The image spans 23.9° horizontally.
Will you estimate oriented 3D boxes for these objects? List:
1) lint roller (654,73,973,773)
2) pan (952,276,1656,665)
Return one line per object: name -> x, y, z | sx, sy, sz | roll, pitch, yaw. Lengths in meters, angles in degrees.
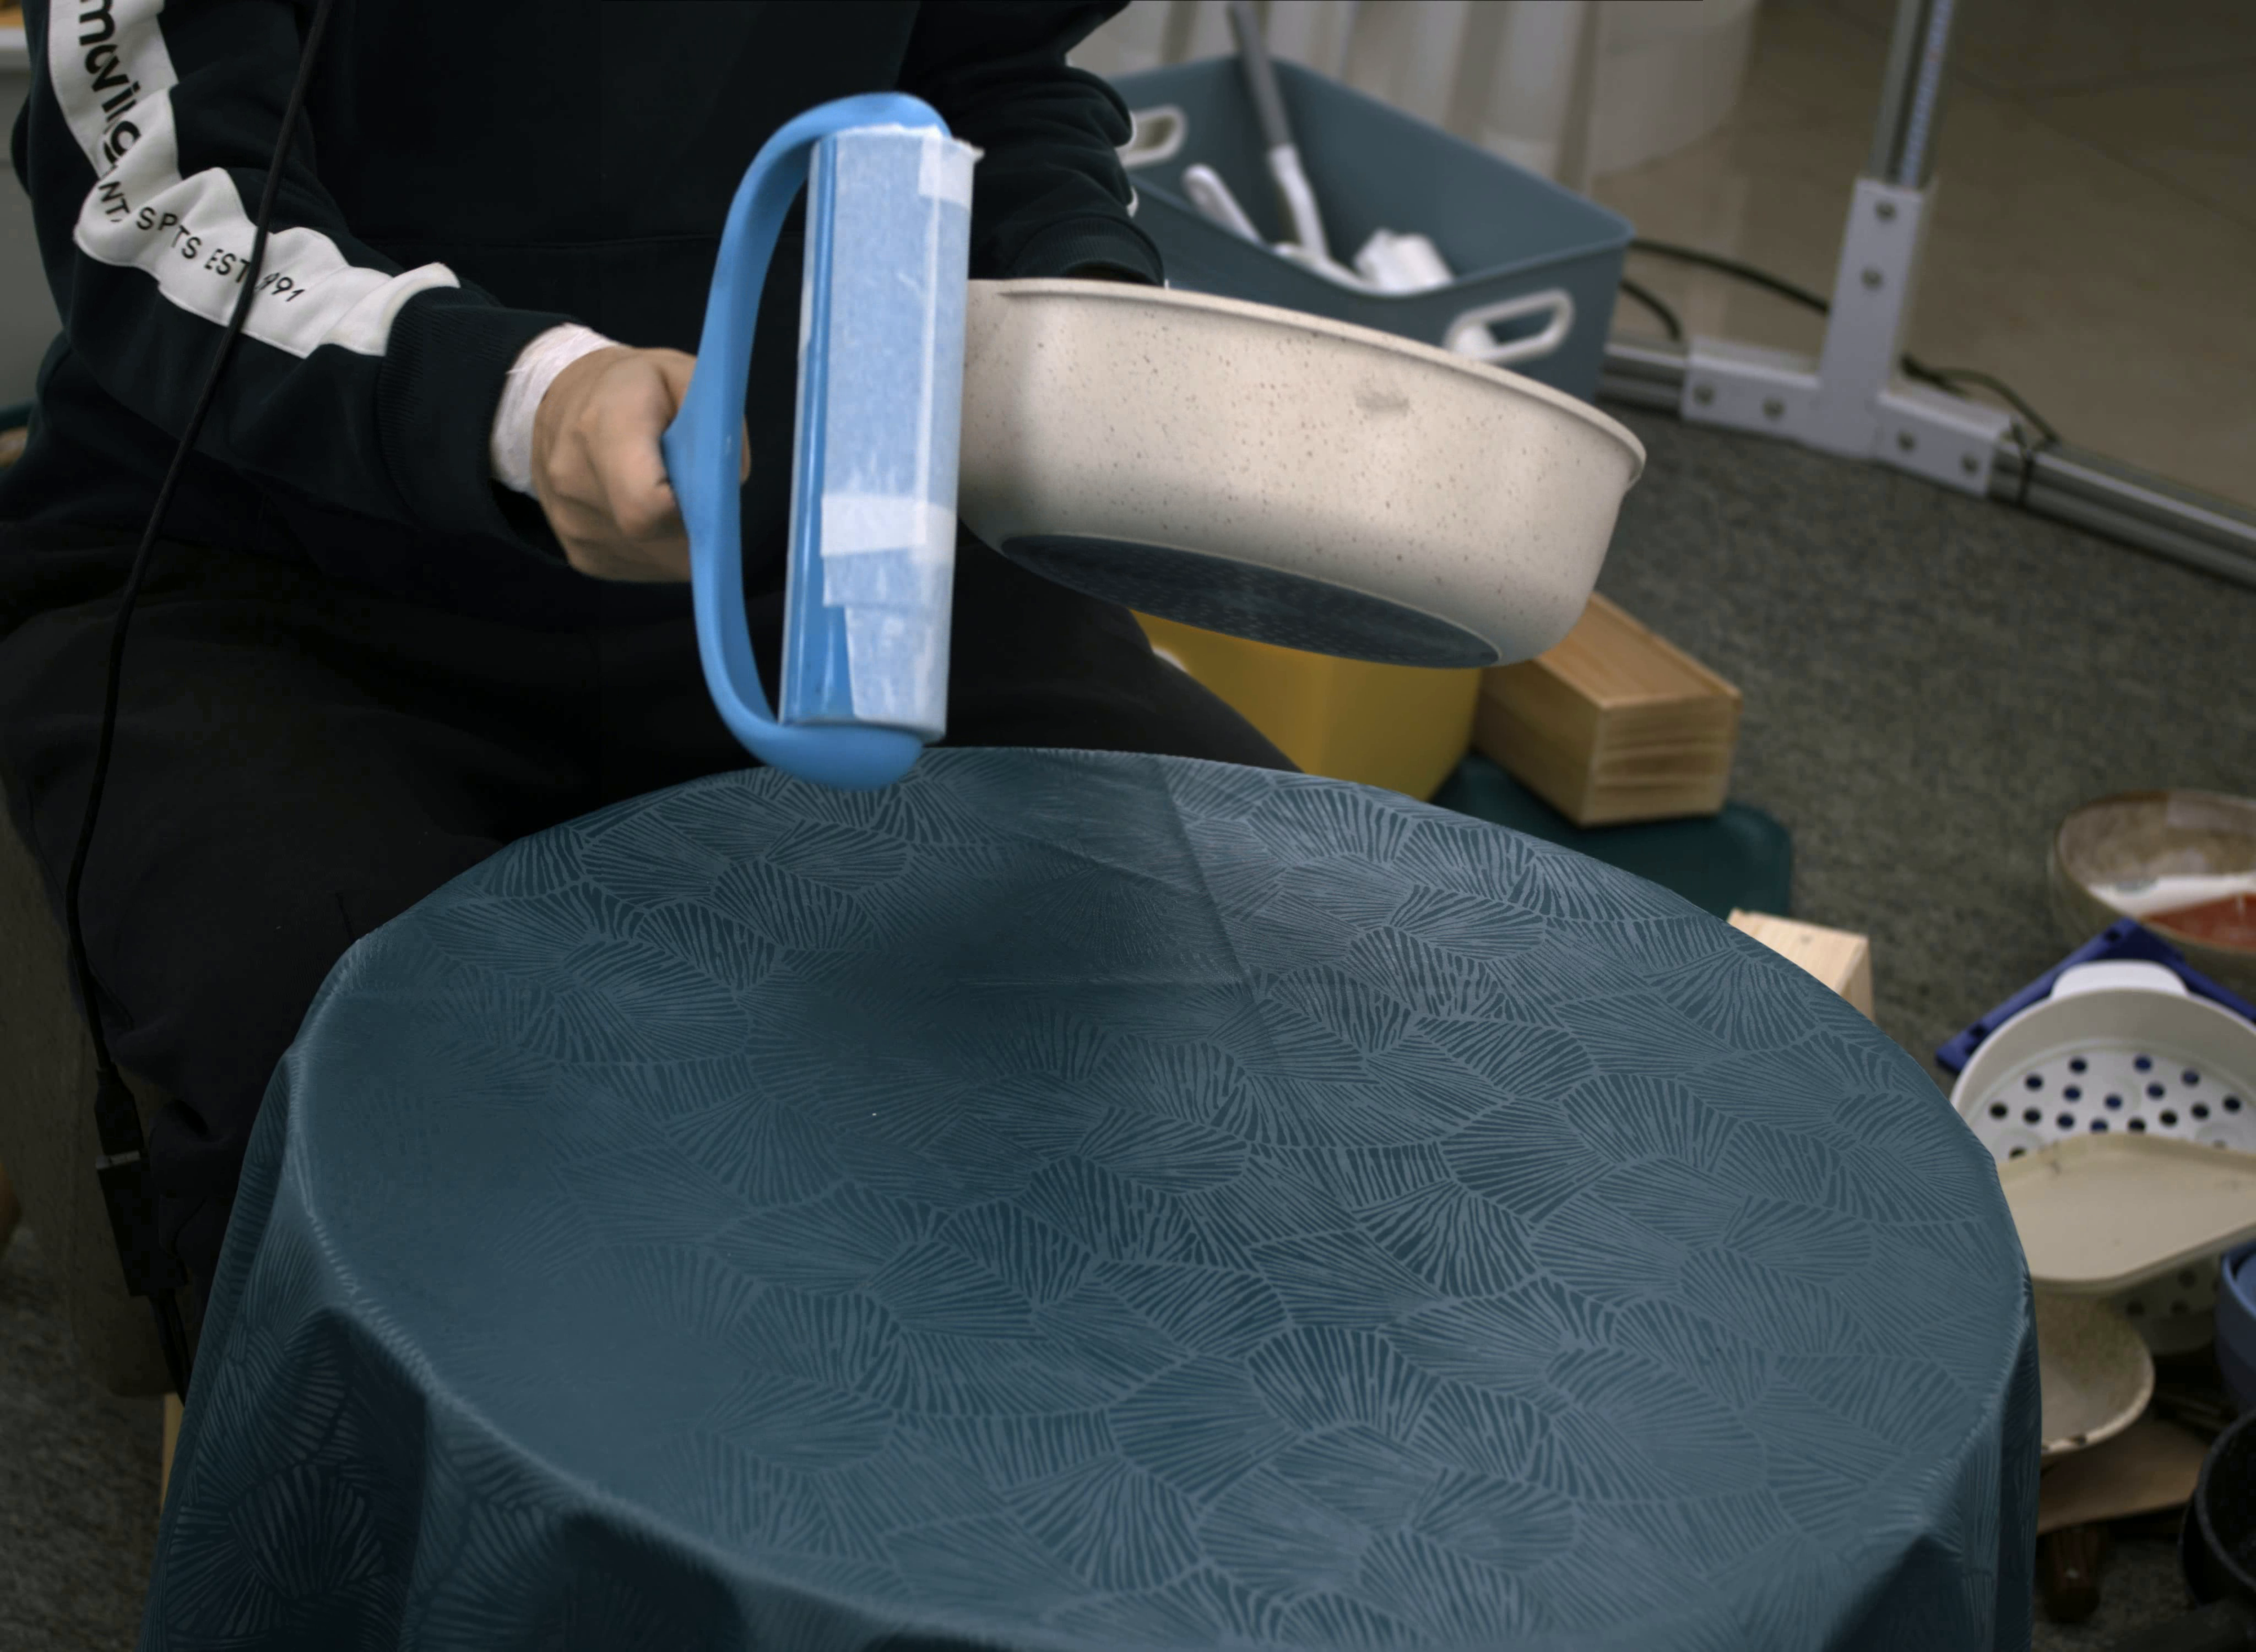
lint roller -> -0.119, -0.121, 1.753 | 0.067, 0.230, 0.181 | 9, -15, -38
pan -> 0.032, -0.122, 1.972 | 0.262, 0.102, 0.436 | 13, -7, -15
